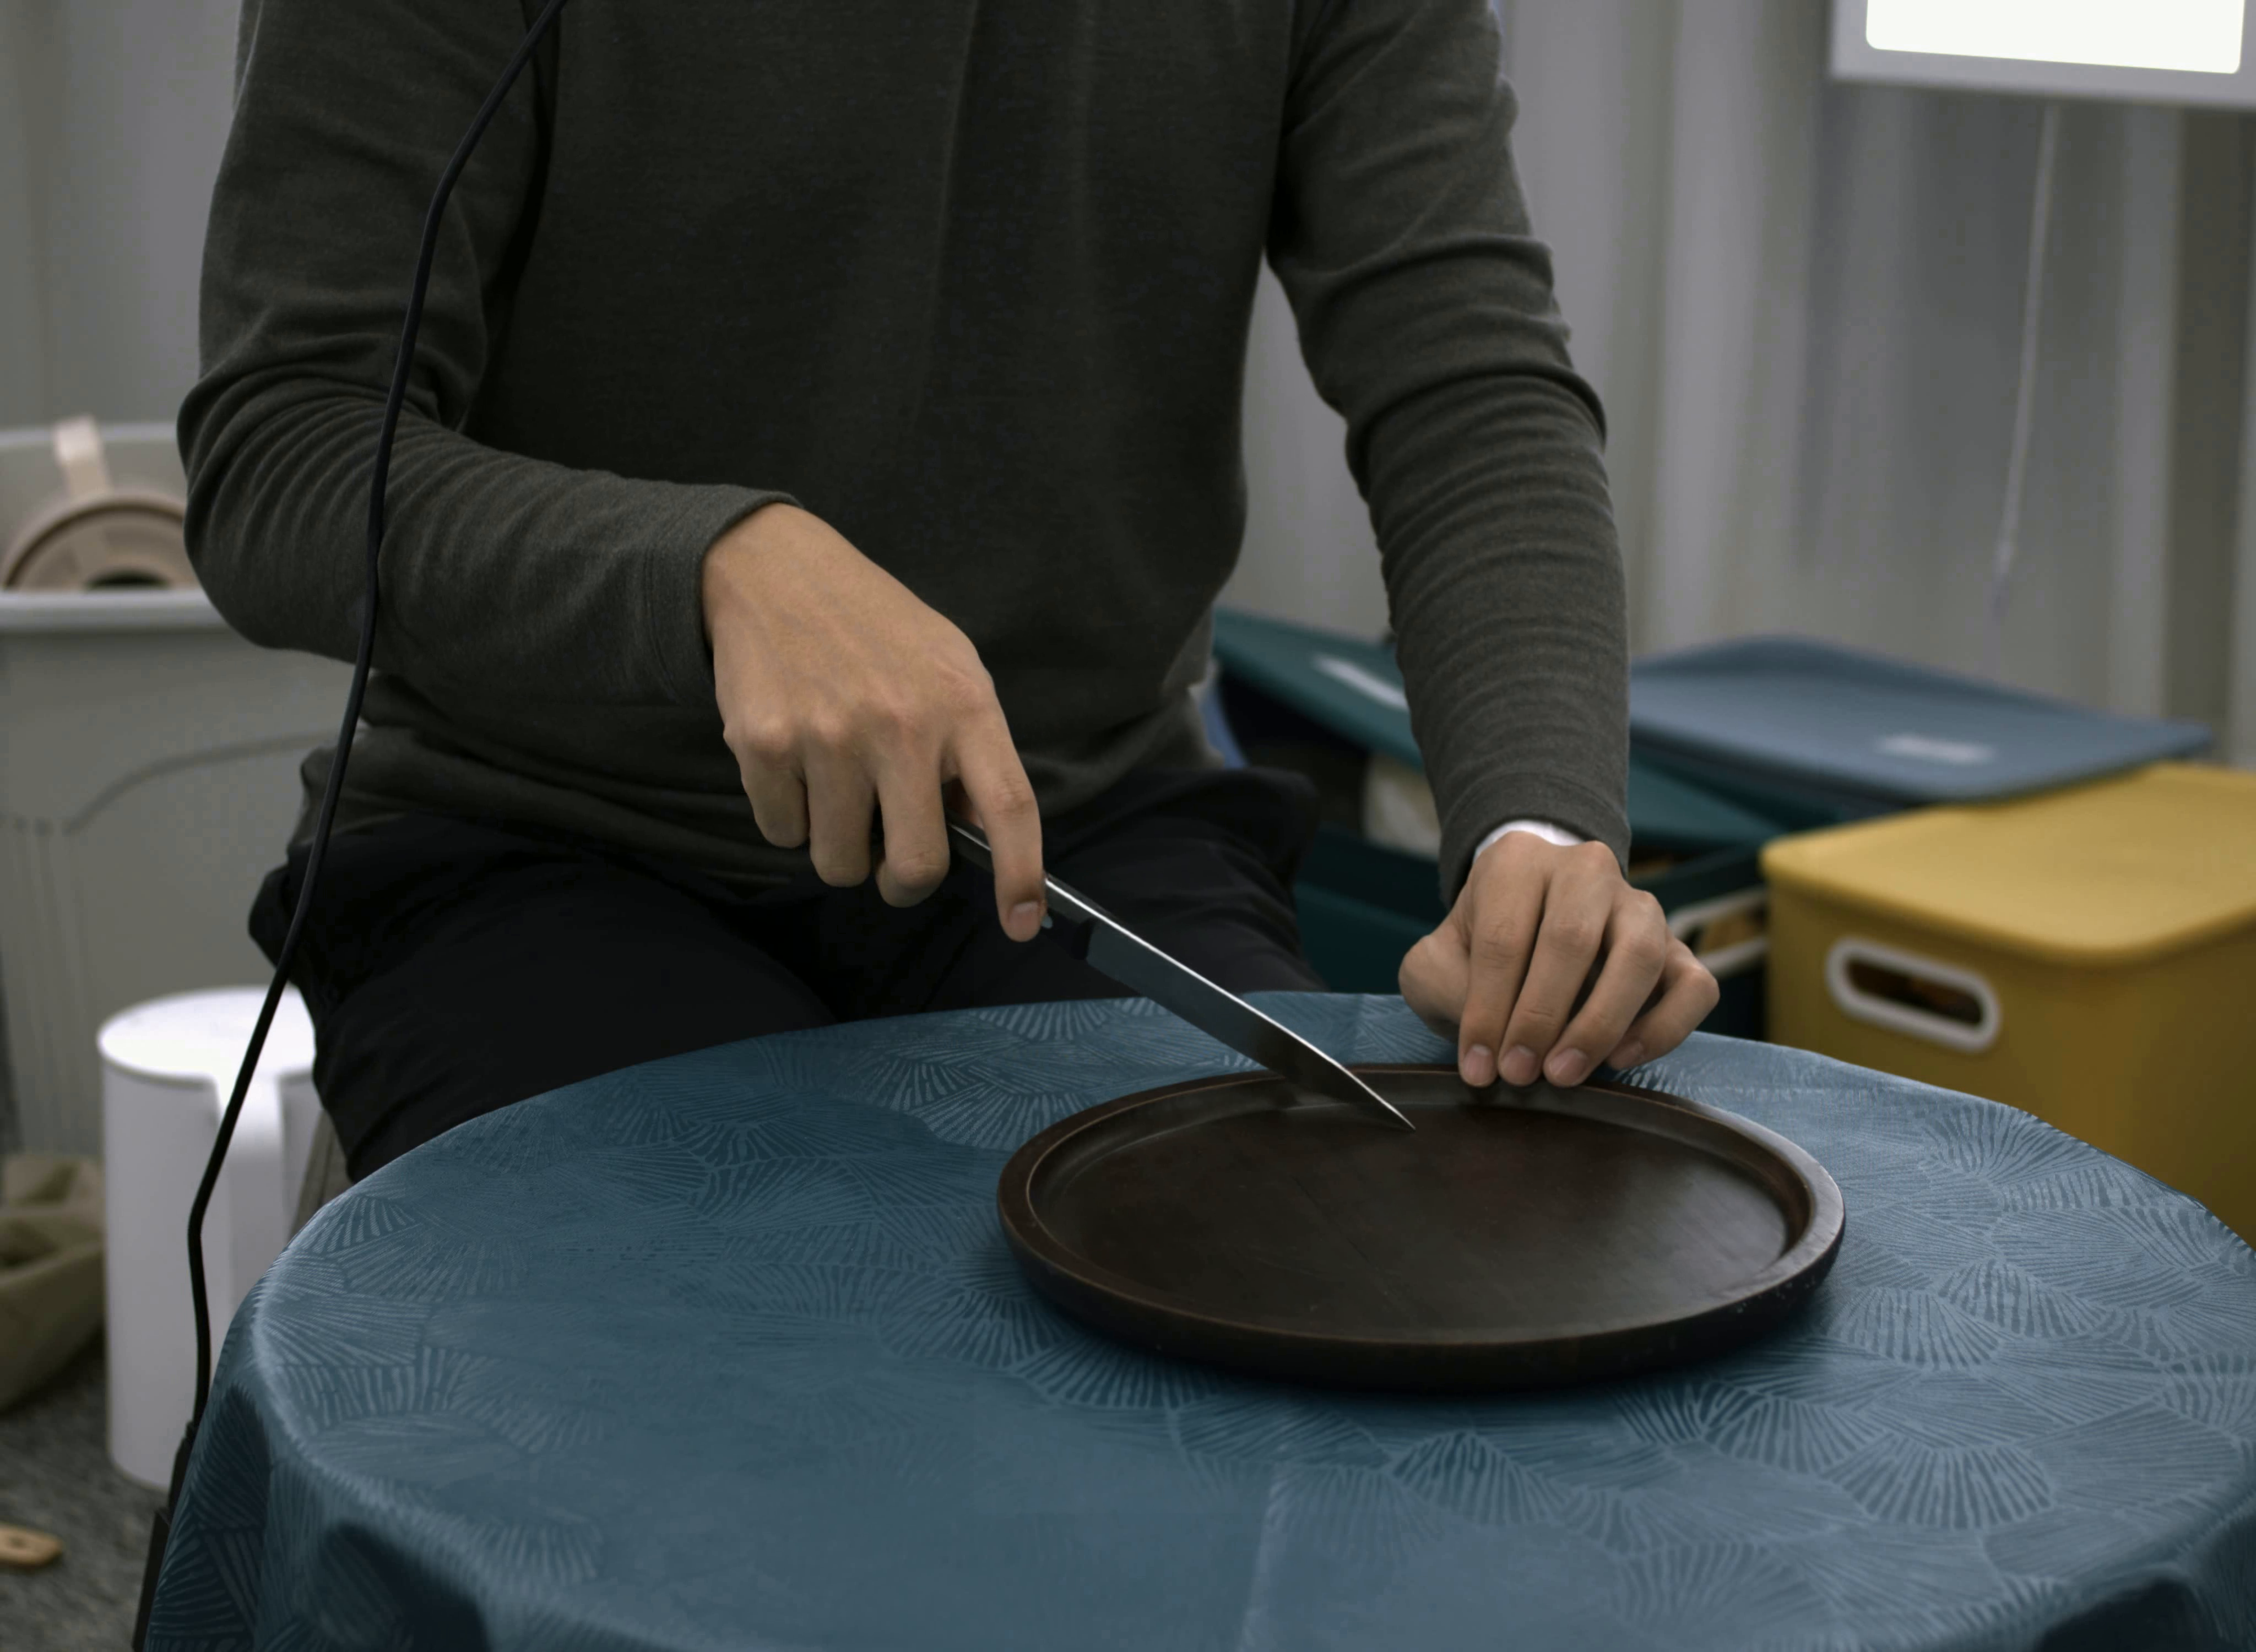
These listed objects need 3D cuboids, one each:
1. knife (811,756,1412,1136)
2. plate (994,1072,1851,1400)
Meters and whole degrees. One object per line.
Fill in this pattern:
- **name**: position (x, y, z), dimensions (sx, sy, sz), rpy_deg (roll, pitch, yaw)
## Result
- **knife**: position (-0.005, 0.039, 1.683), dimensions (0.236, 0.024, 0.016), rpy_deg (31, 44, 18)
- **plate**: position (0.087, 0.118, 1.565), dimensions (0.254, 0.029, 0.253), rpy_deg (2, 16, 0)
